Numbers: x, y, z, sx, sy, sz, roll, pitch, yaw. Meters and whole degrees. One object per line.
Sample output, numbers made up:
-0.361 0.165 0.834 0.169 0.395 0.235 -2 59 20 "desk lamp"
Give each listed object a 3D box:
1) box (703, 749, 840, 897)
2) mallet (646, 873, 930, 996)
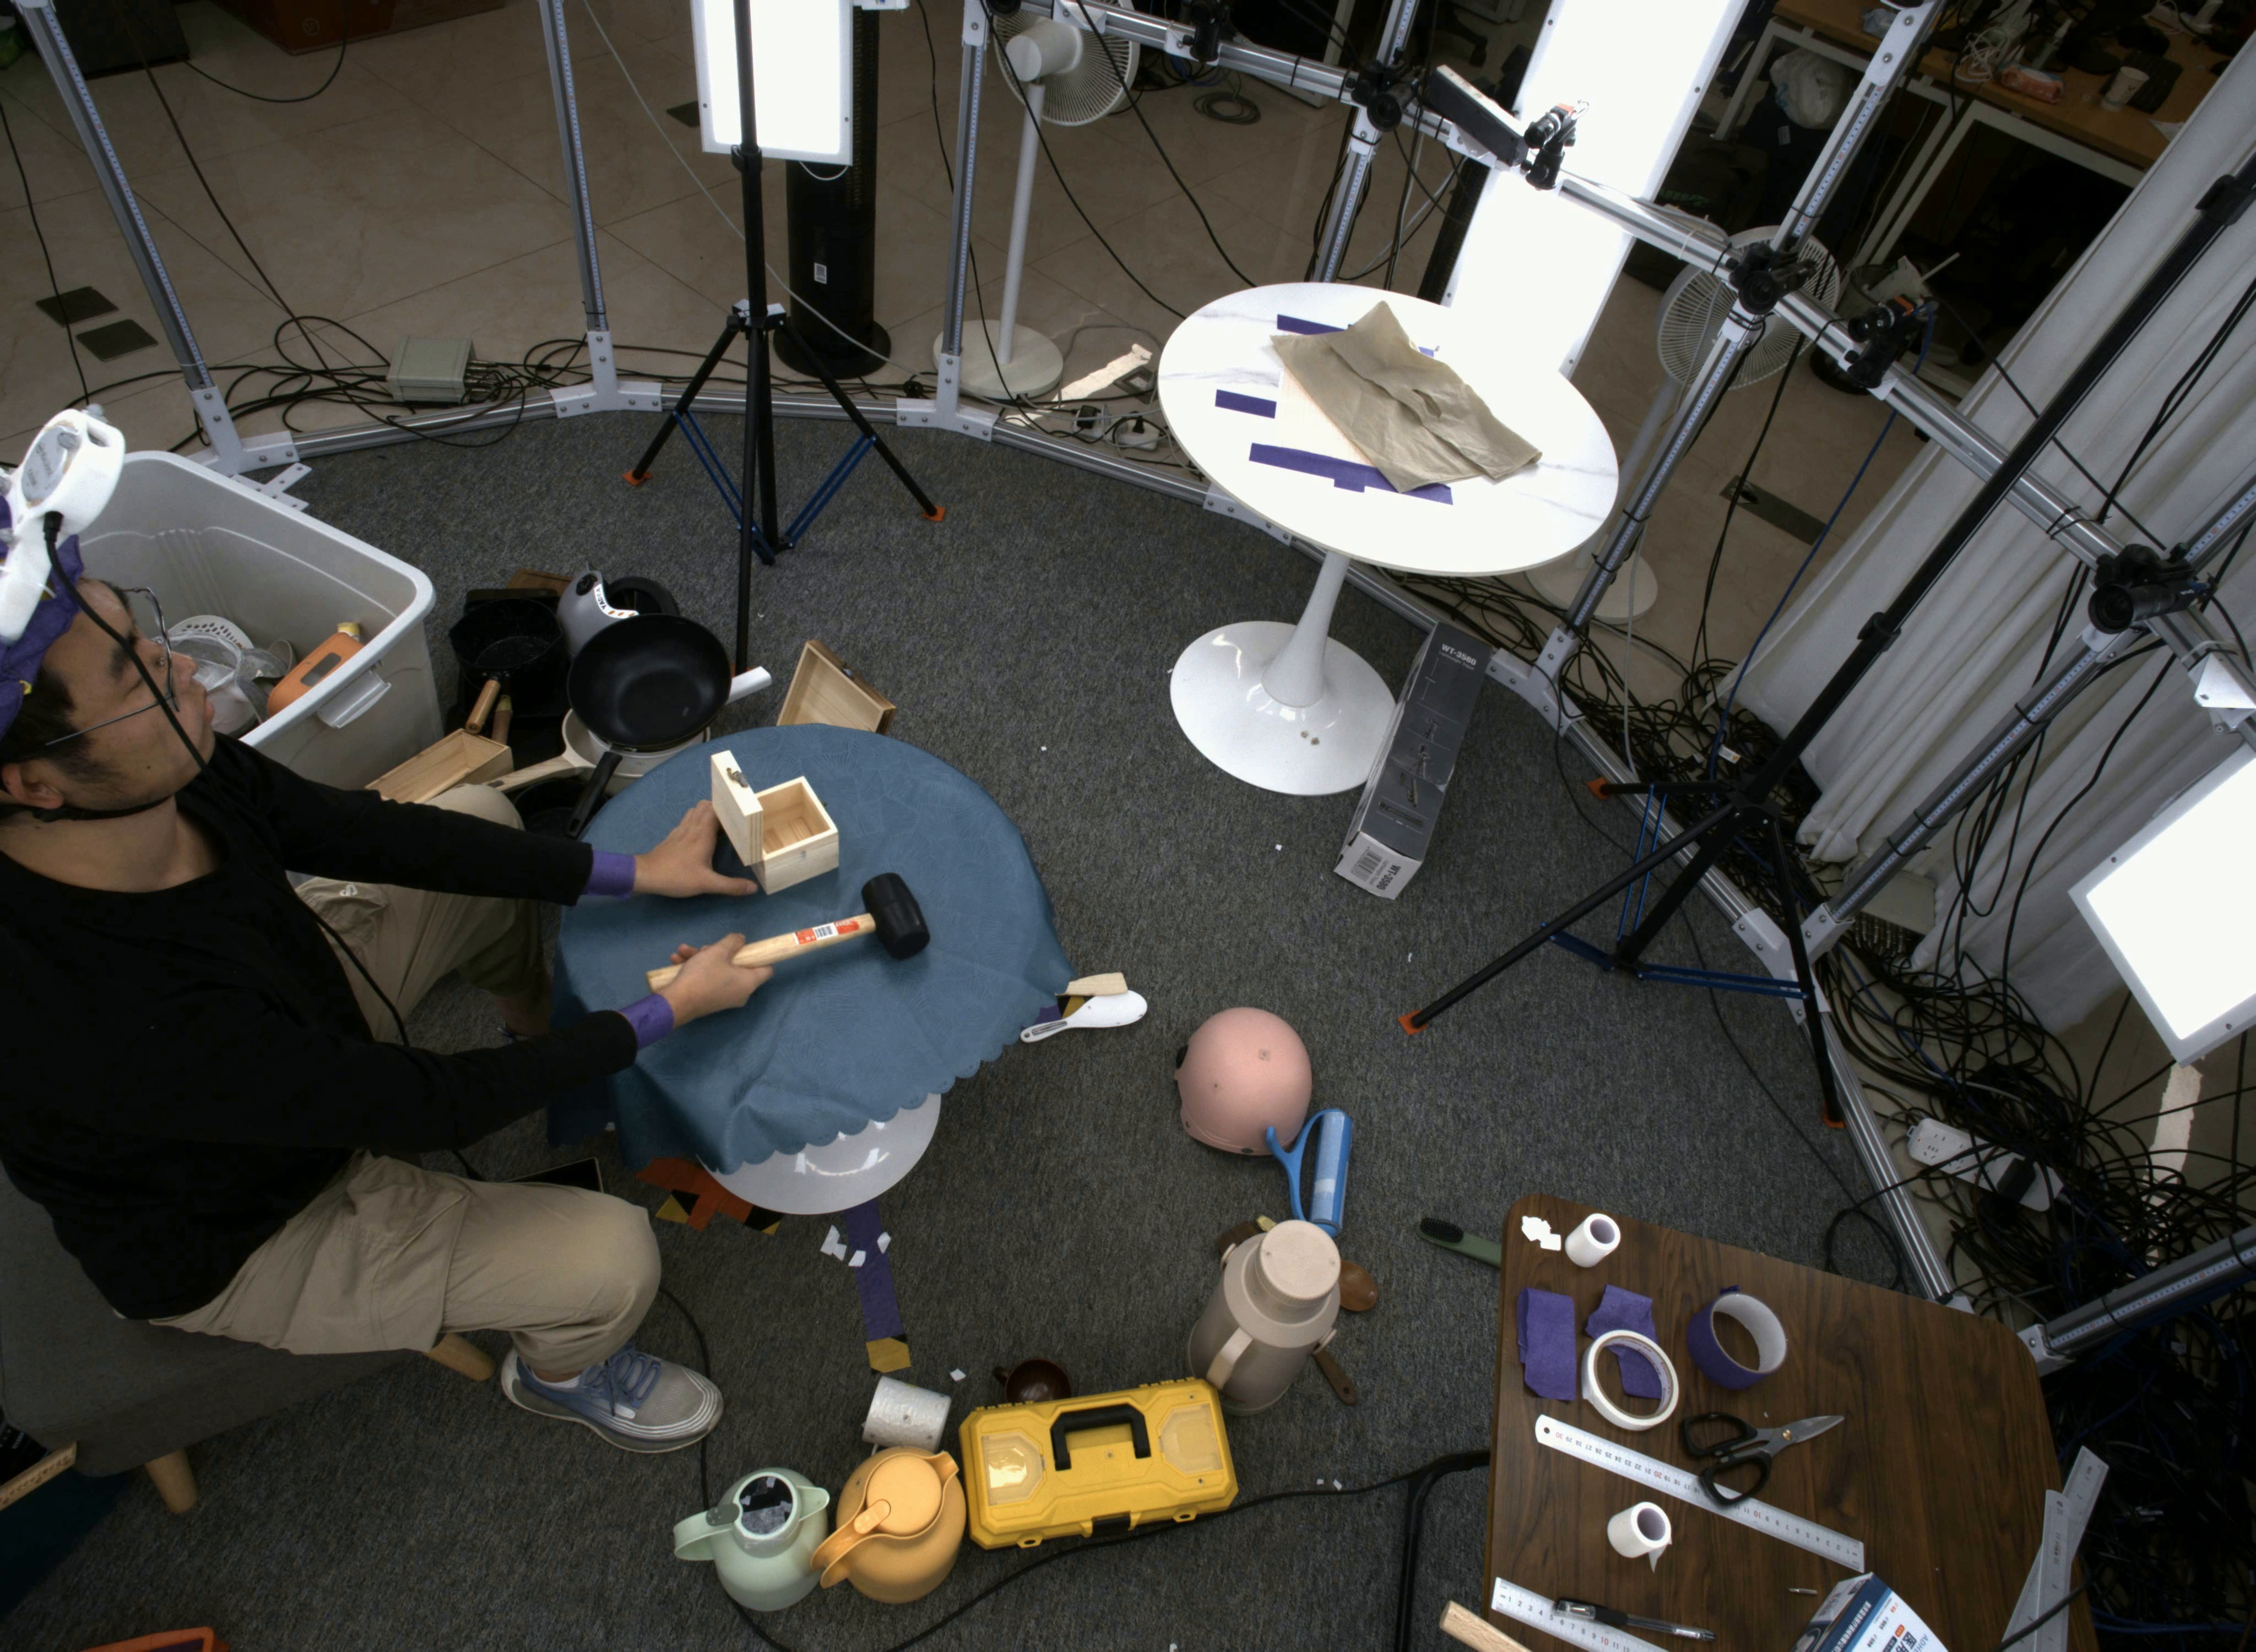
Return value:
-0.440 -0.017 1.614 0.134 0.189 0.100 -26 60 -25 "box"
-0.407 0.137 1.558 0.342 0.065 0.099 -12 53 -31 "mallet"
